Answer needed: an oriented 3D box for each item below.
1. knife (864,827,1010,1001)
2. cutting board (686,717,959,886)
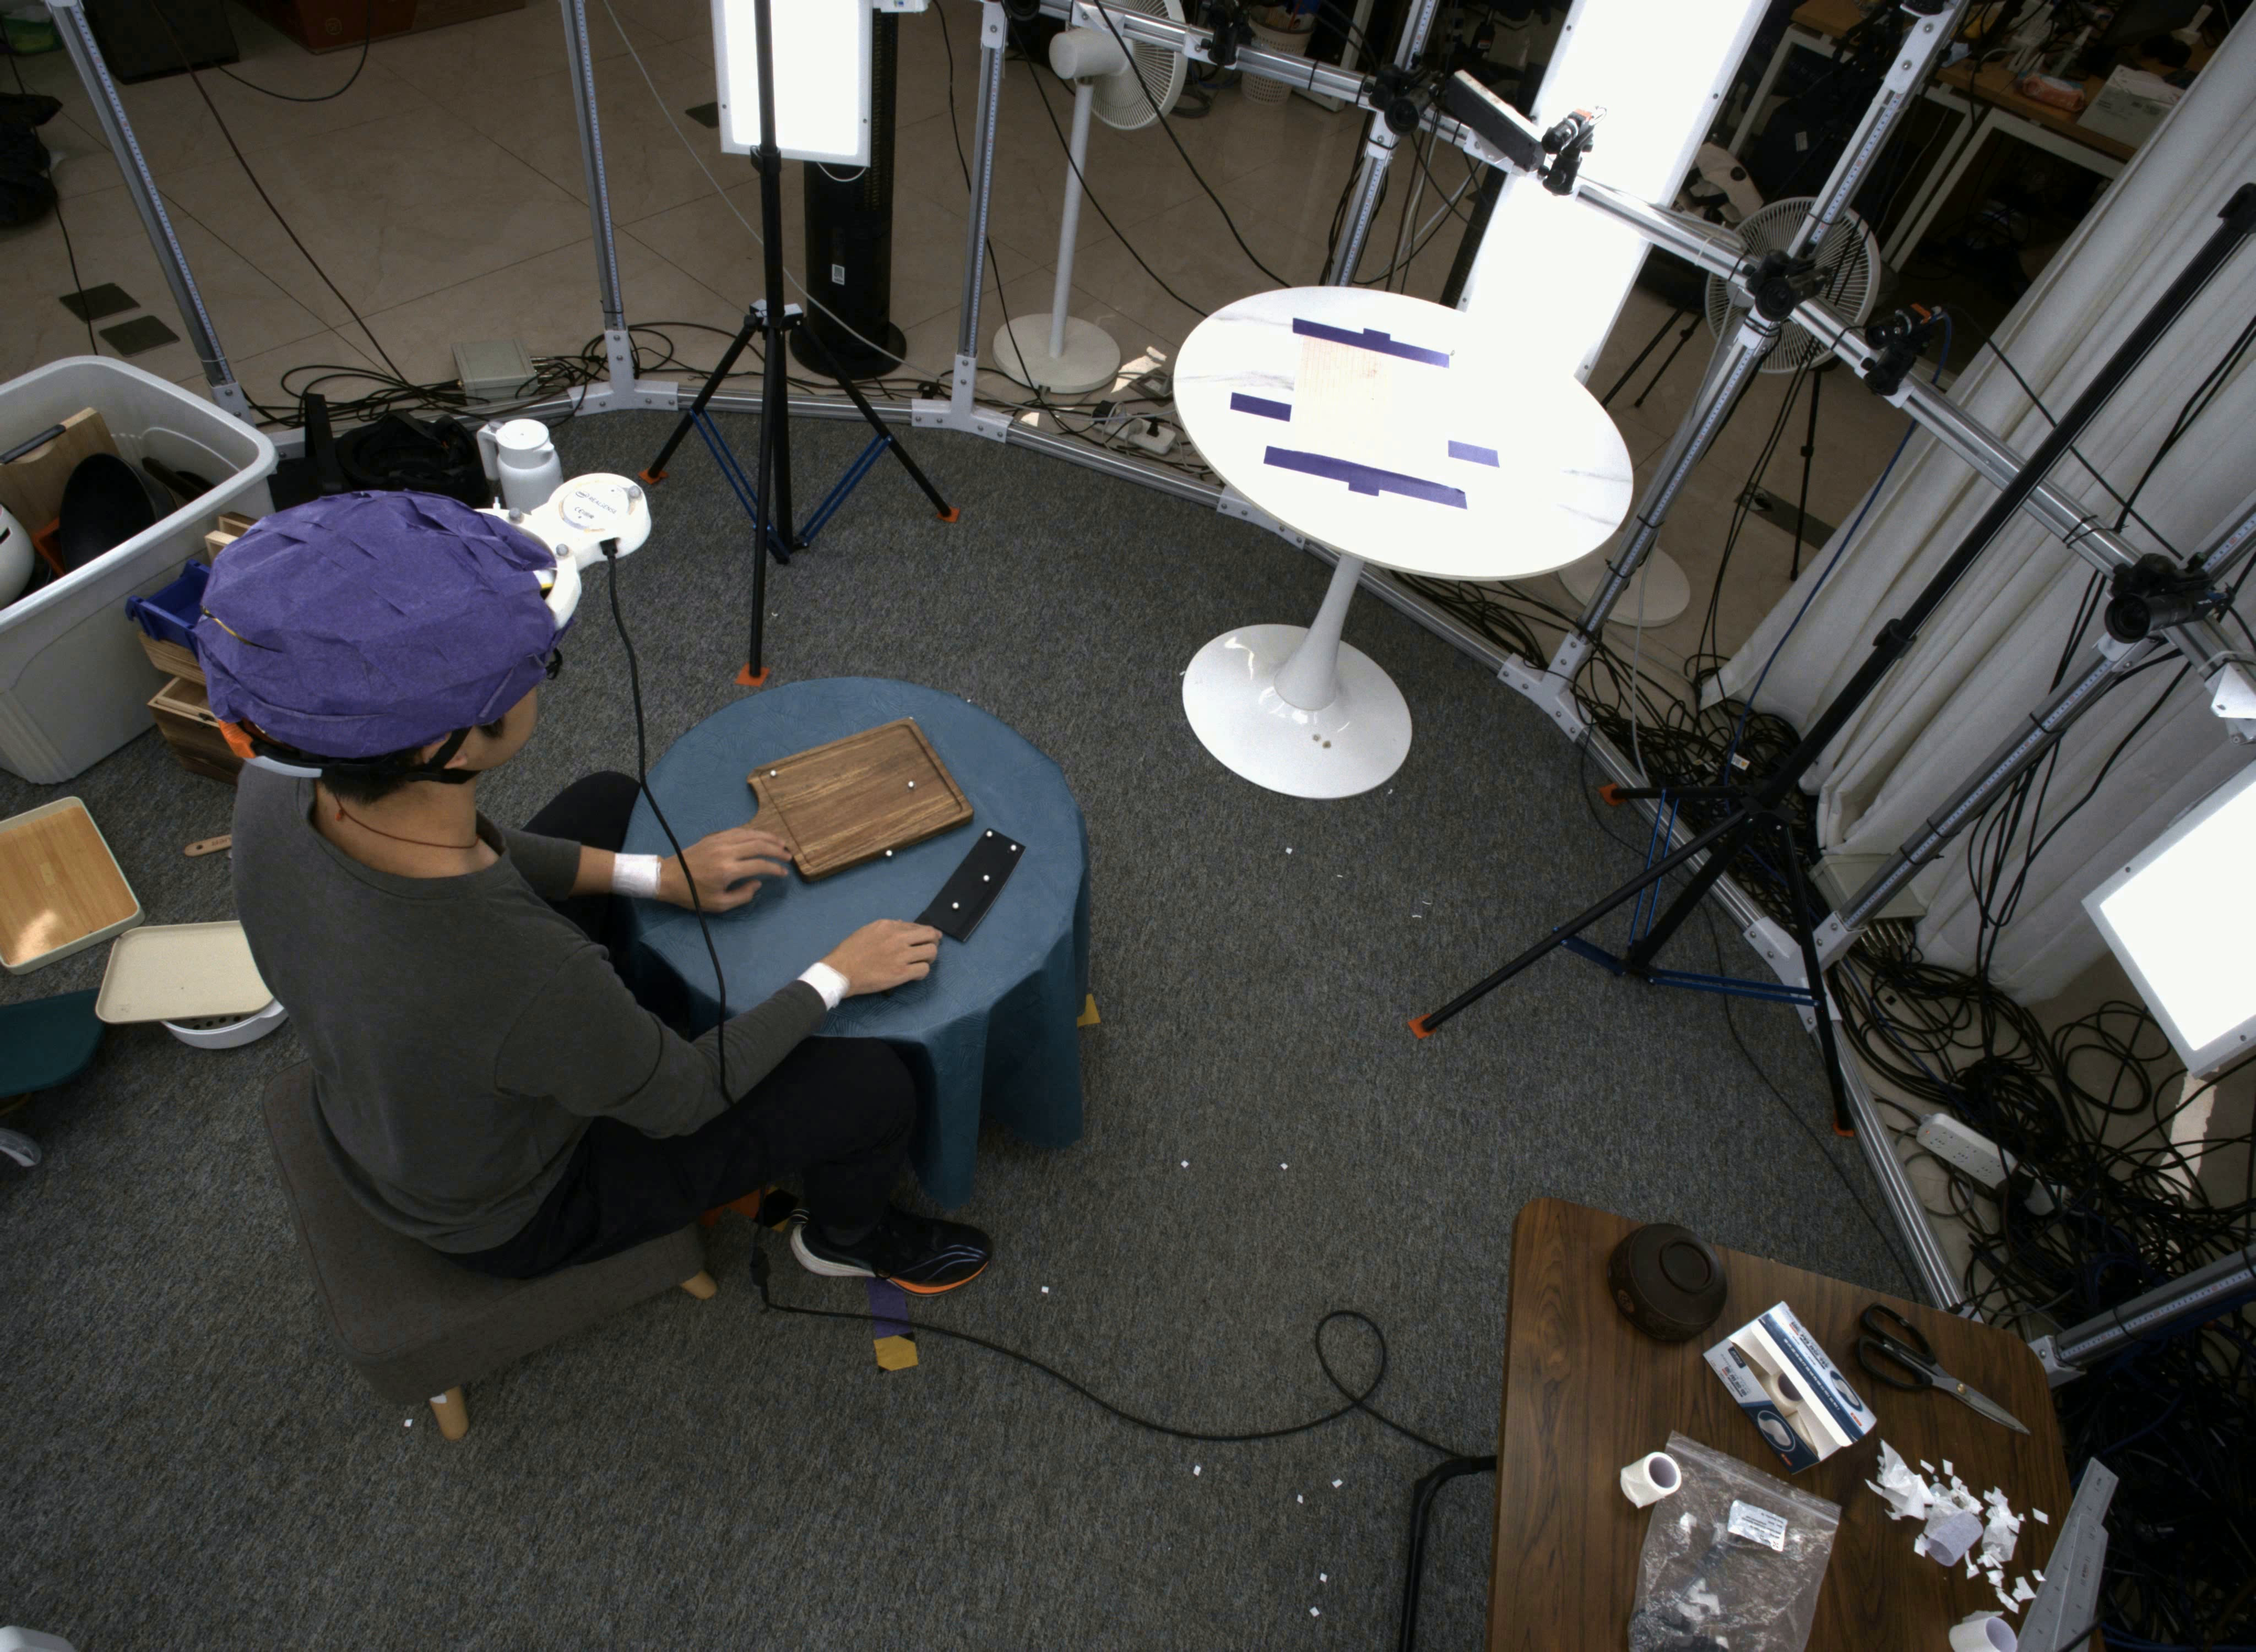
[{"bbox_3d":[-0.247,0.110,1.691,0.080,0.021,0.301,31,51,7],"label":"knife"},{"bbox_3d":[-0.423,-0.023,1.738,0.354,0.023,0.196,-24,62,-28],"label":"cutting board"}]
